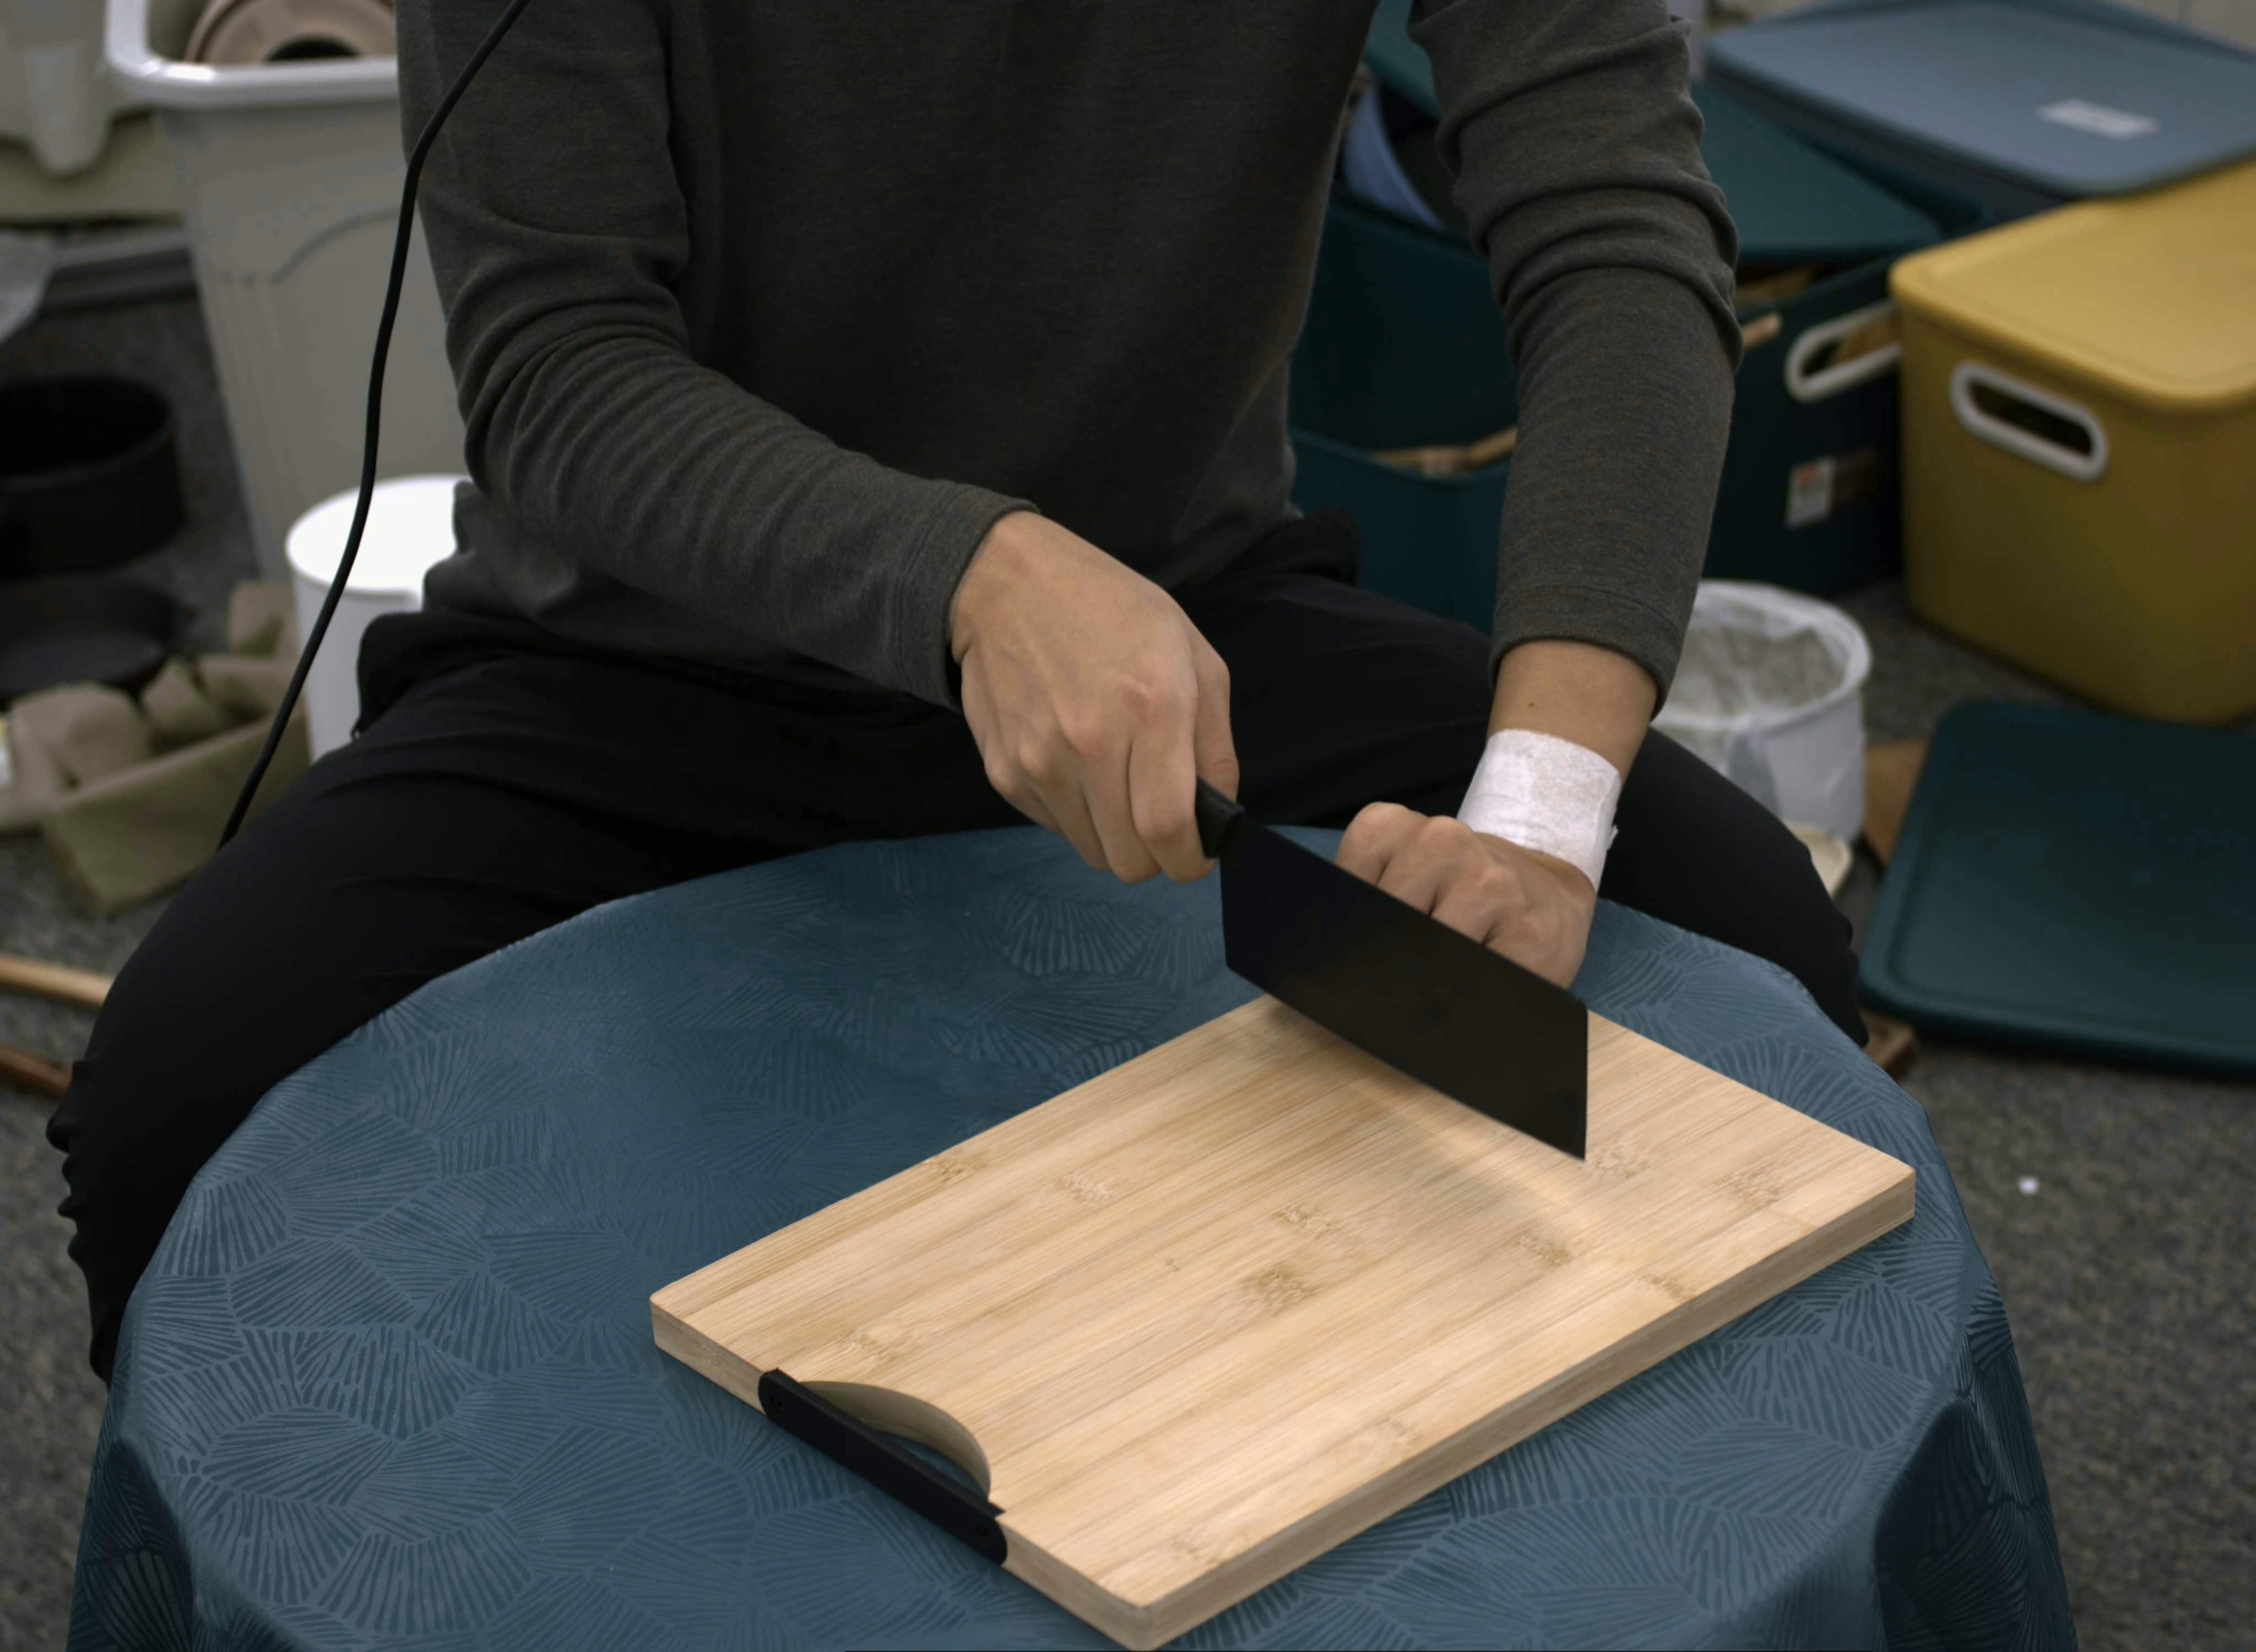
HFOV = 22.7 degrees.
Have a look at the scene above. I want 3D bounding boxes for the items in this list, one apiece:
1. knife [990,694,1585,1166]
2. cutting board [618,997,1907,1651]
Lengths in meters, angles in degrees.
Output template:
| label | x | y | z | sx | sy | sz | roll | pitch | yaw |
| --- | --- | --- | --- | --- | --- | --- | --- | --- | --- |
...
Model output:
| label | x | y | z | sx | sy | sz | roll | pitch | yaw |
| --- | --- | --- | --- | --- | --- | --- | --- | --- | --- |
| knife | 0.051 | 0.028 | 1.885 | 0.021 | 0.080 | 0.303 | -21 | 38 | -33 |
| cutting board | 0.047 | 0.141 | 1.803 | 0.352 | 0.023 | 0.250 | -24 | 34 | -36 |
